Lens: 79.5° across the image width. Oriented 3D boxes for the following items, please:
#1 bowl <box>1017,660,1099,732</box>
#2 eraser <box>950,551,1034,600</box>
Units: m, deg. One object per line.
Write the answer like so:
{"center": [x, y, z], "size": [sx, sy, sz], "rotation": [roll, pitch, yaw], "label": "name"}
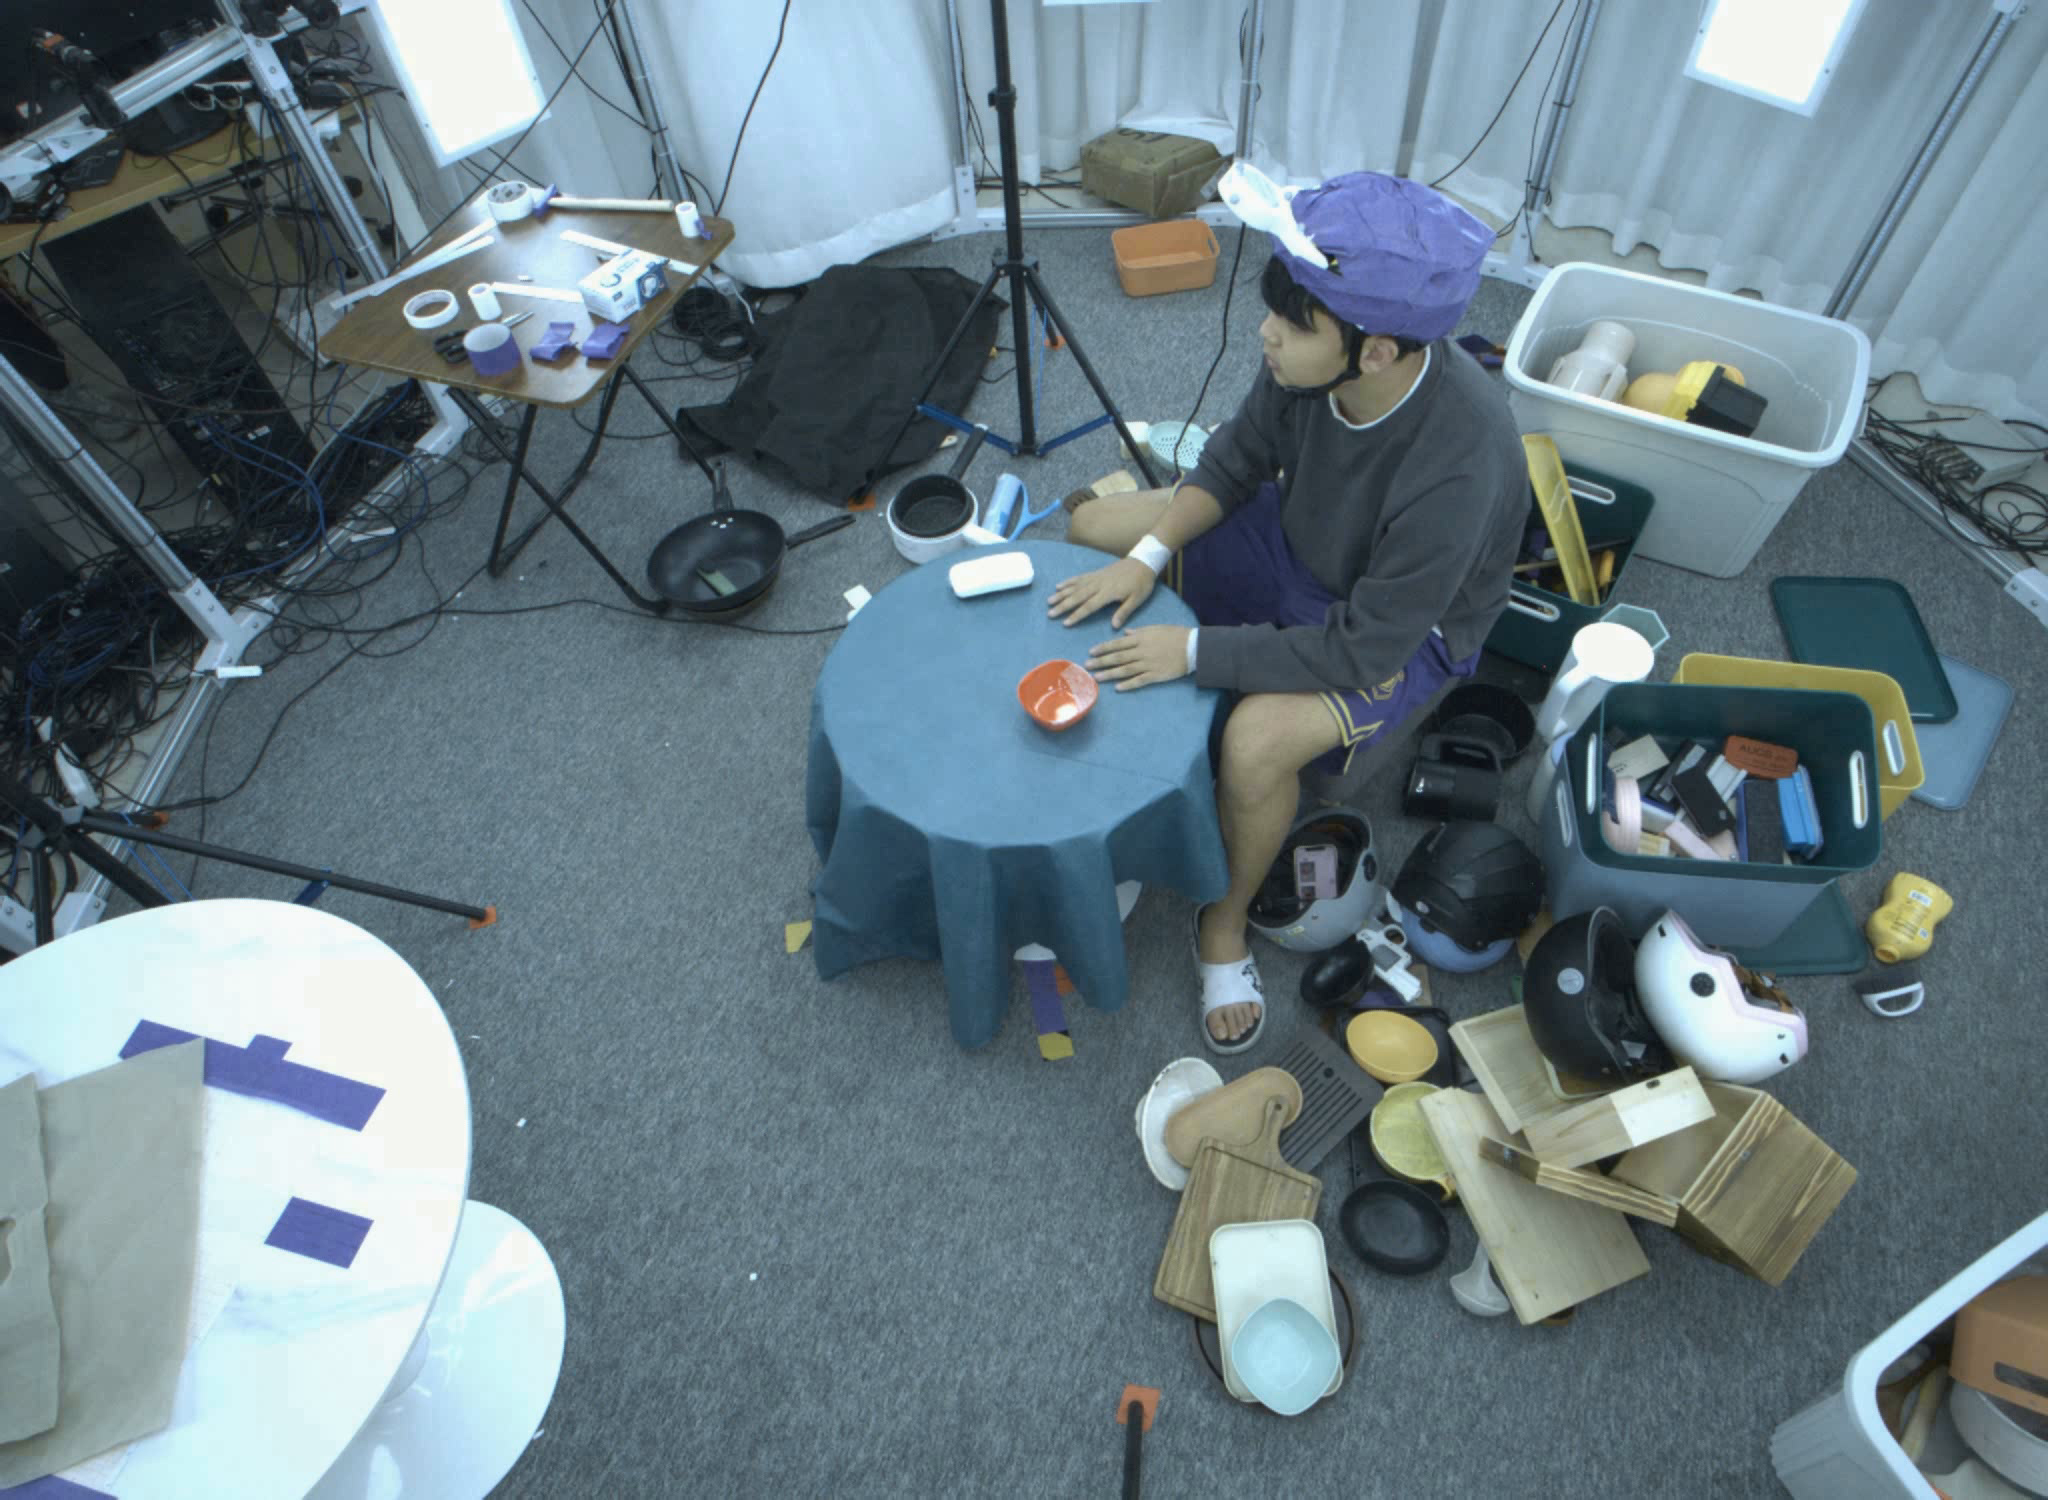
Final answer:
{"center": [0.051, -0.072, 1.809], "size": [0.119, 0.052, 0.117], "rotation": [-1, 54, 2], "label": "bowl"}
{"center": [-0.052, -0.280, 1.971], "size": [0.131, 0.035, 0.062], "rotation": [-12, 57, -4], "label": "eraser"}
